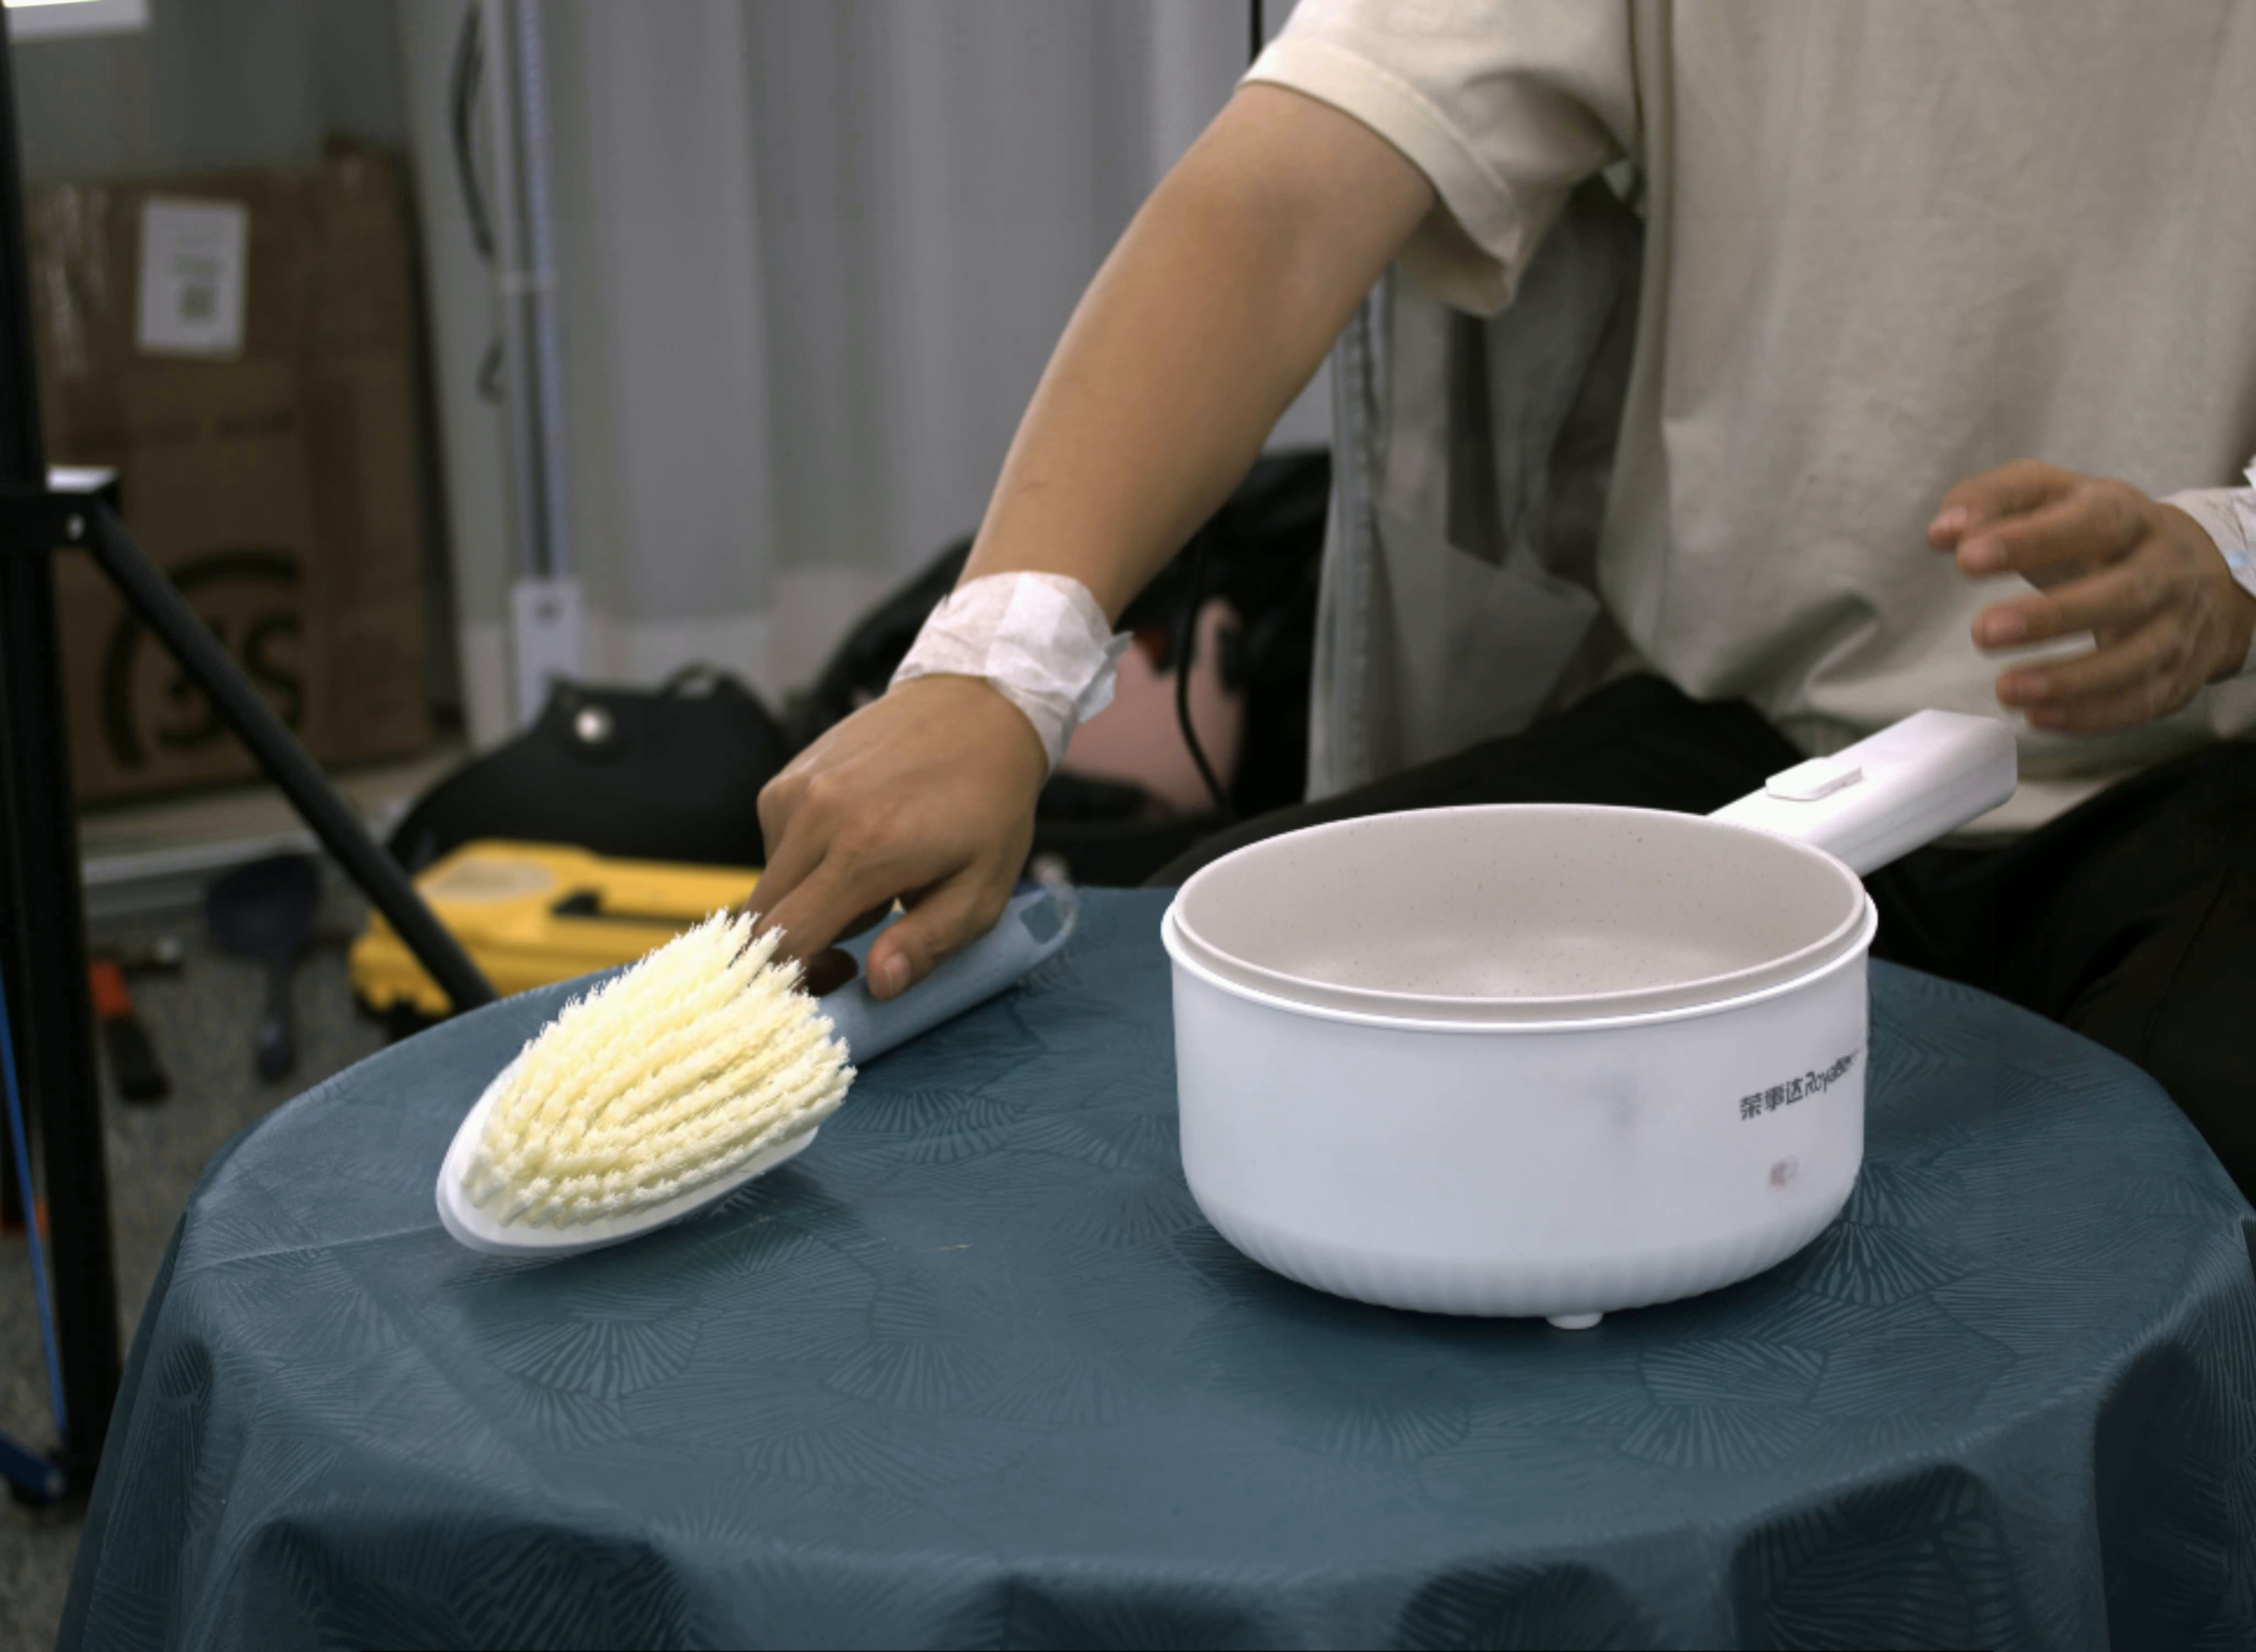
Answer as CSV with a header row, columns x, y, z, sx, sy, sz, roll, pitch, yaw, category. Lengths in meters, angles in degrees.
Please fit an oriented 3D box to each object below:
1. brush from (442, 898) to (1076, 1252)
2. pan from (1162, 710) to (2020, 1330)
x,y,z,sx,sy,sz,roll,pitch,yaw,category
-0.089,0.053,1.625,0.086,0.083,0.319,7,18,32,brush
0.157,0.051,1.551,0.205,0.102,0.347,9,19,38,pan
